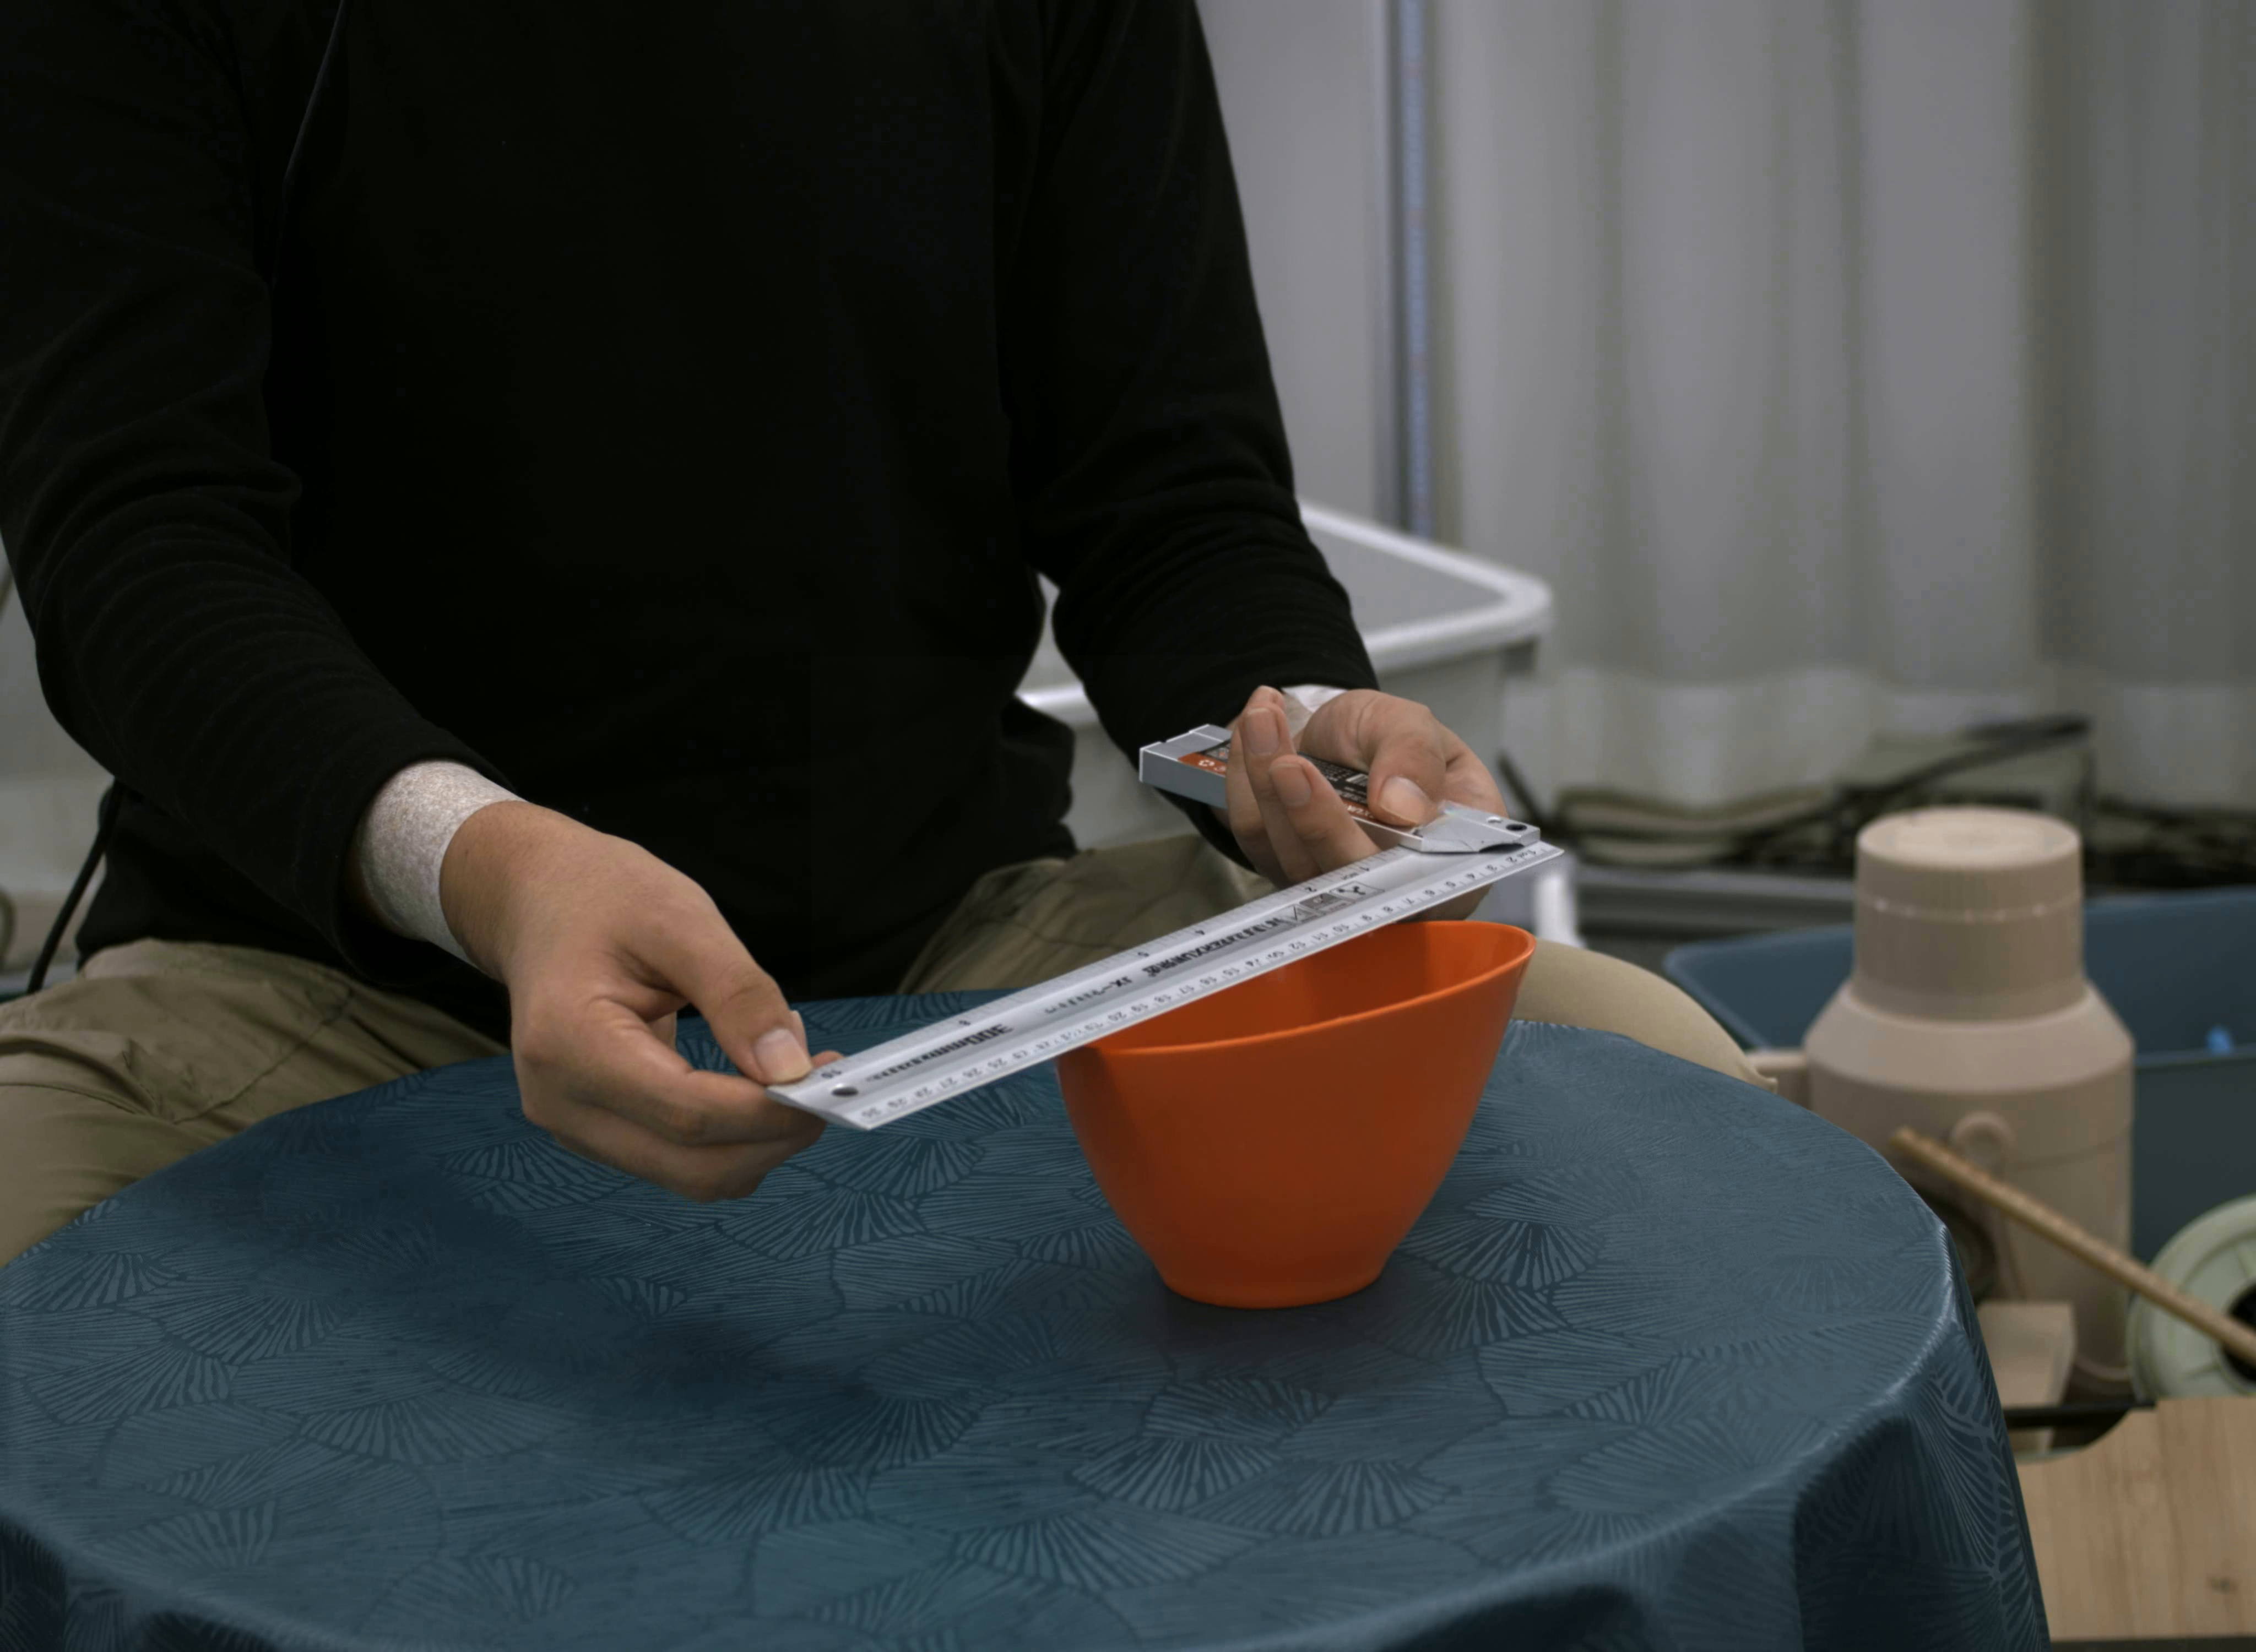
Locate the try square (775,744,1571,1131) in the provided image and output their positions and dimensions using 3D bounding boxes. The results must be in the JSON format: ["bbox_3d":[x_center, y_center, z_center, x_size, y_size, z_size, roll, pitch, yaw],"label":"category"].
[{"bbox_3d":[-0.019,0.030,1.651,0.153,0.016,0.312,15,24,40],"label":"try square"}]

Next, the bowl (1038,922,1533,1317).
[{"bbox_3d":[0.048,0.087,1.614,0.147,0.104,0.149,-4,15,1],"label":"bowl"}]
